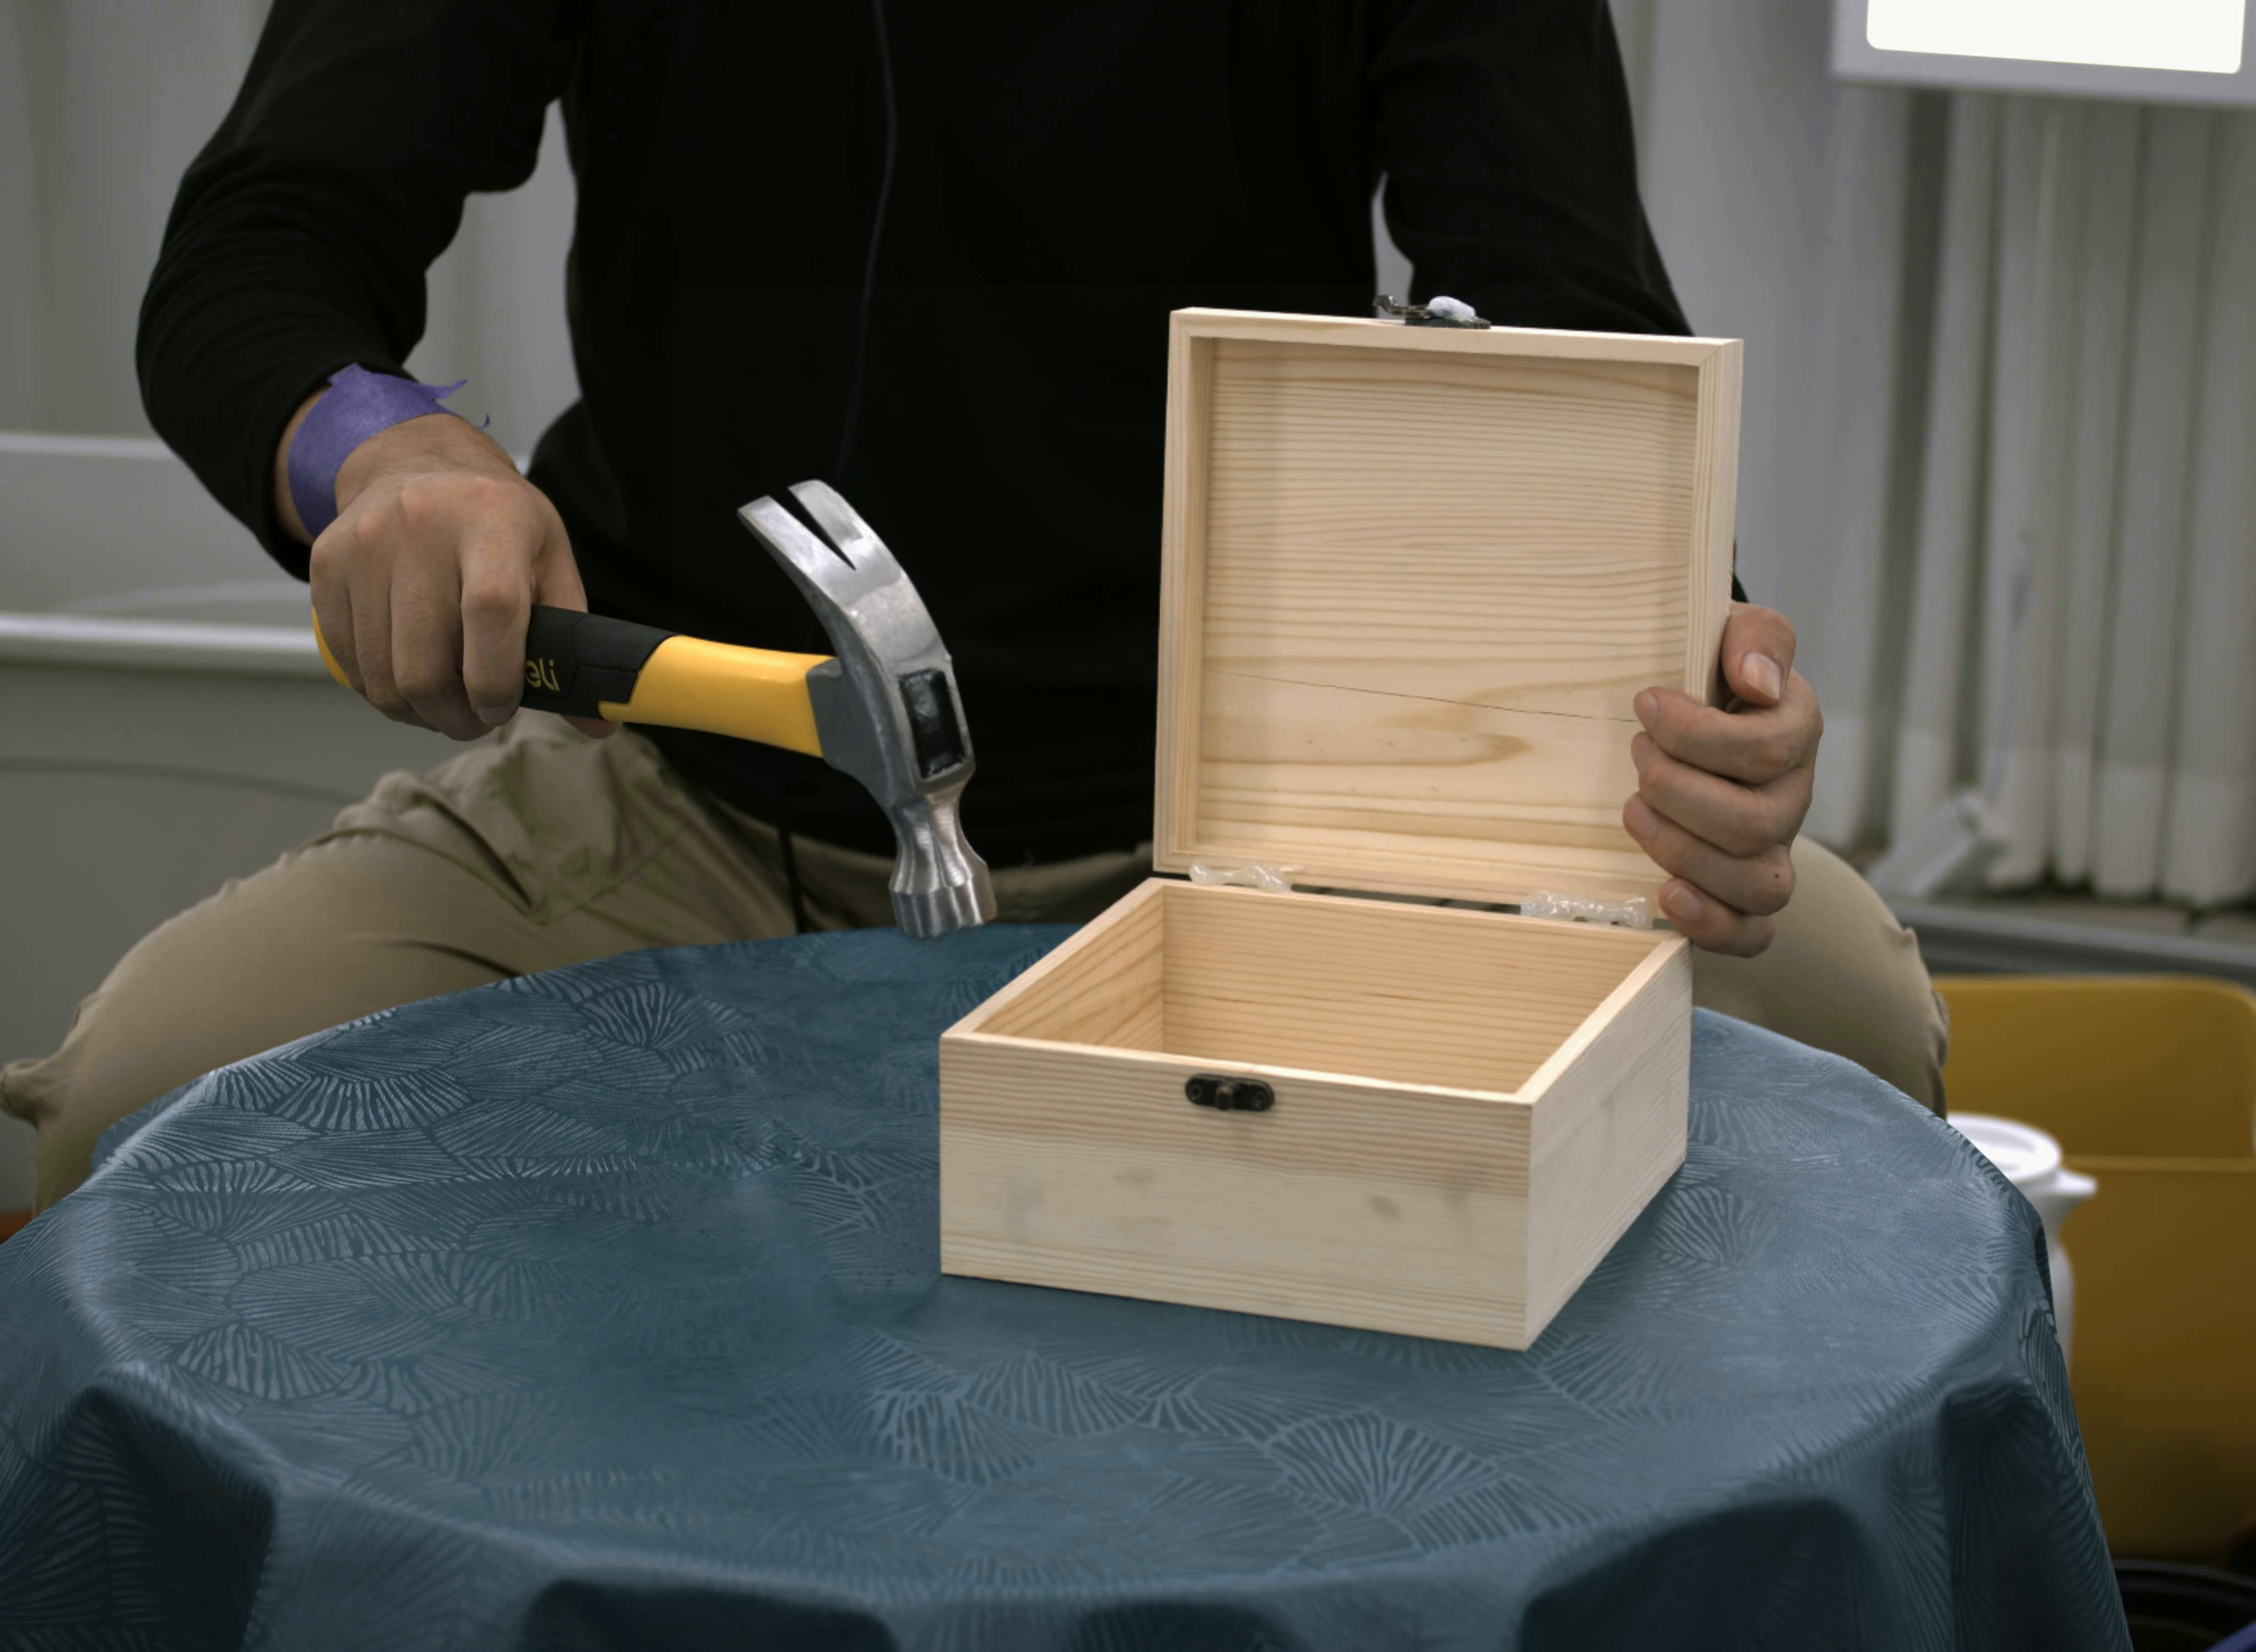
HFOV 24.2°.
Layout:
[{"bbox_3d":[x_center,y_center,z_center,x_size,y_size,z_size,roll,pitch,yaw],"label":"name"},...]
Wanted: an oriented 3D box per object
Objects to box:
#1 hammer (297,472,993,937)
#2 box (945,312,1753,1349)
[{"bbox_3d":[-0.162,-0.048,1.643,0.032,0.132,0.334,-23,20,-36],"label":"hammer"},{"bbox_3d":[0.071,-0.010,1.597,0.180,0.255,0.265,4,17,19],"label":"box"}]
